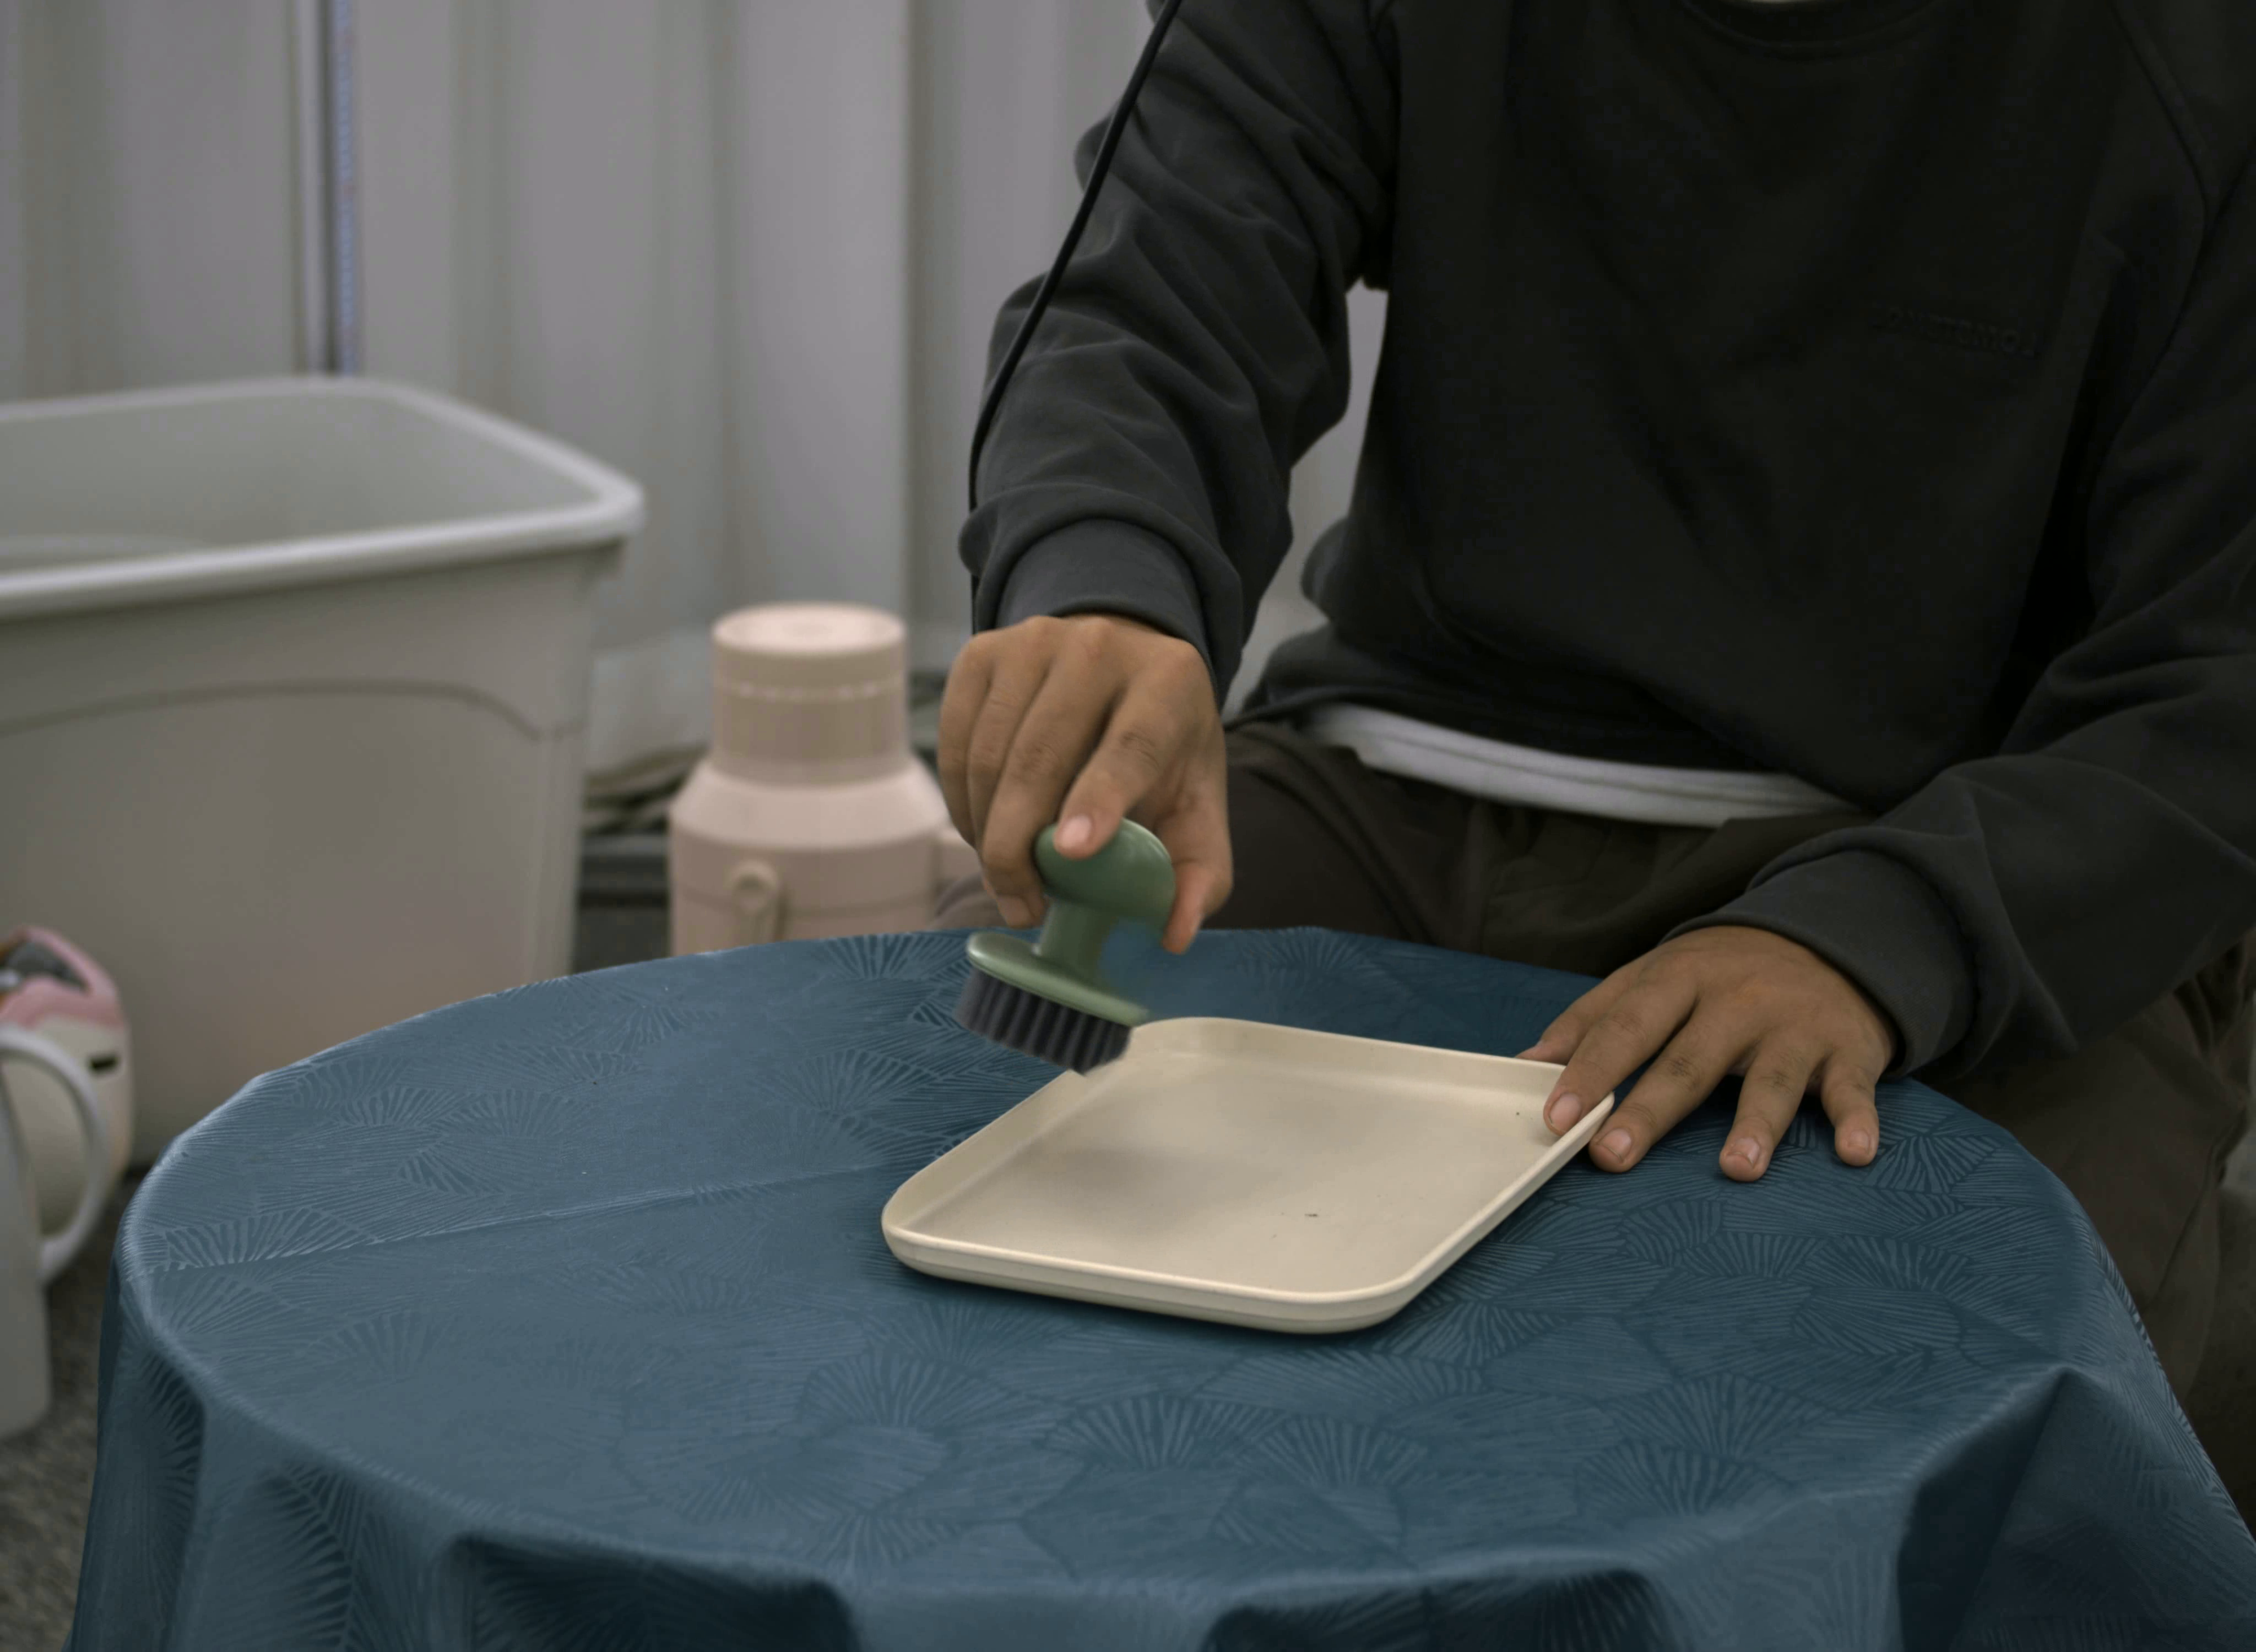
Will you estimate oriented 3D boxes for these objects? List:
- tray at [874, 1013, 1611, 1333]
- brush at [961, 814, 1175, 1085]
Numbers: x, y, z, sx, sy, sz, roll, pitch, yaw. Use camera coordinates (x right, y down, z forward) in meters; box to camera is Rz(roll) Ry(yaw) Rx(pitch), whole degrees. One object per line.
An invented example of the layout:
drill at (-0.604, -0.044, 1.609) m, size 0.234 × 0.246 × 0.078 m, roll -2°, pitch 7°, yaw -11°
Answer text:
tray at (0.039, 0.105, 1.620) m, size 0.169 × 0.017 × 0.240 m, roll 8°, pitch 17°, yaw 22°
brush at (-0.018, 0.042, 1.598) m, size 0.059 × 0.076 × 0.123 m, roll 20°, pitch -10°, yaw -3°
